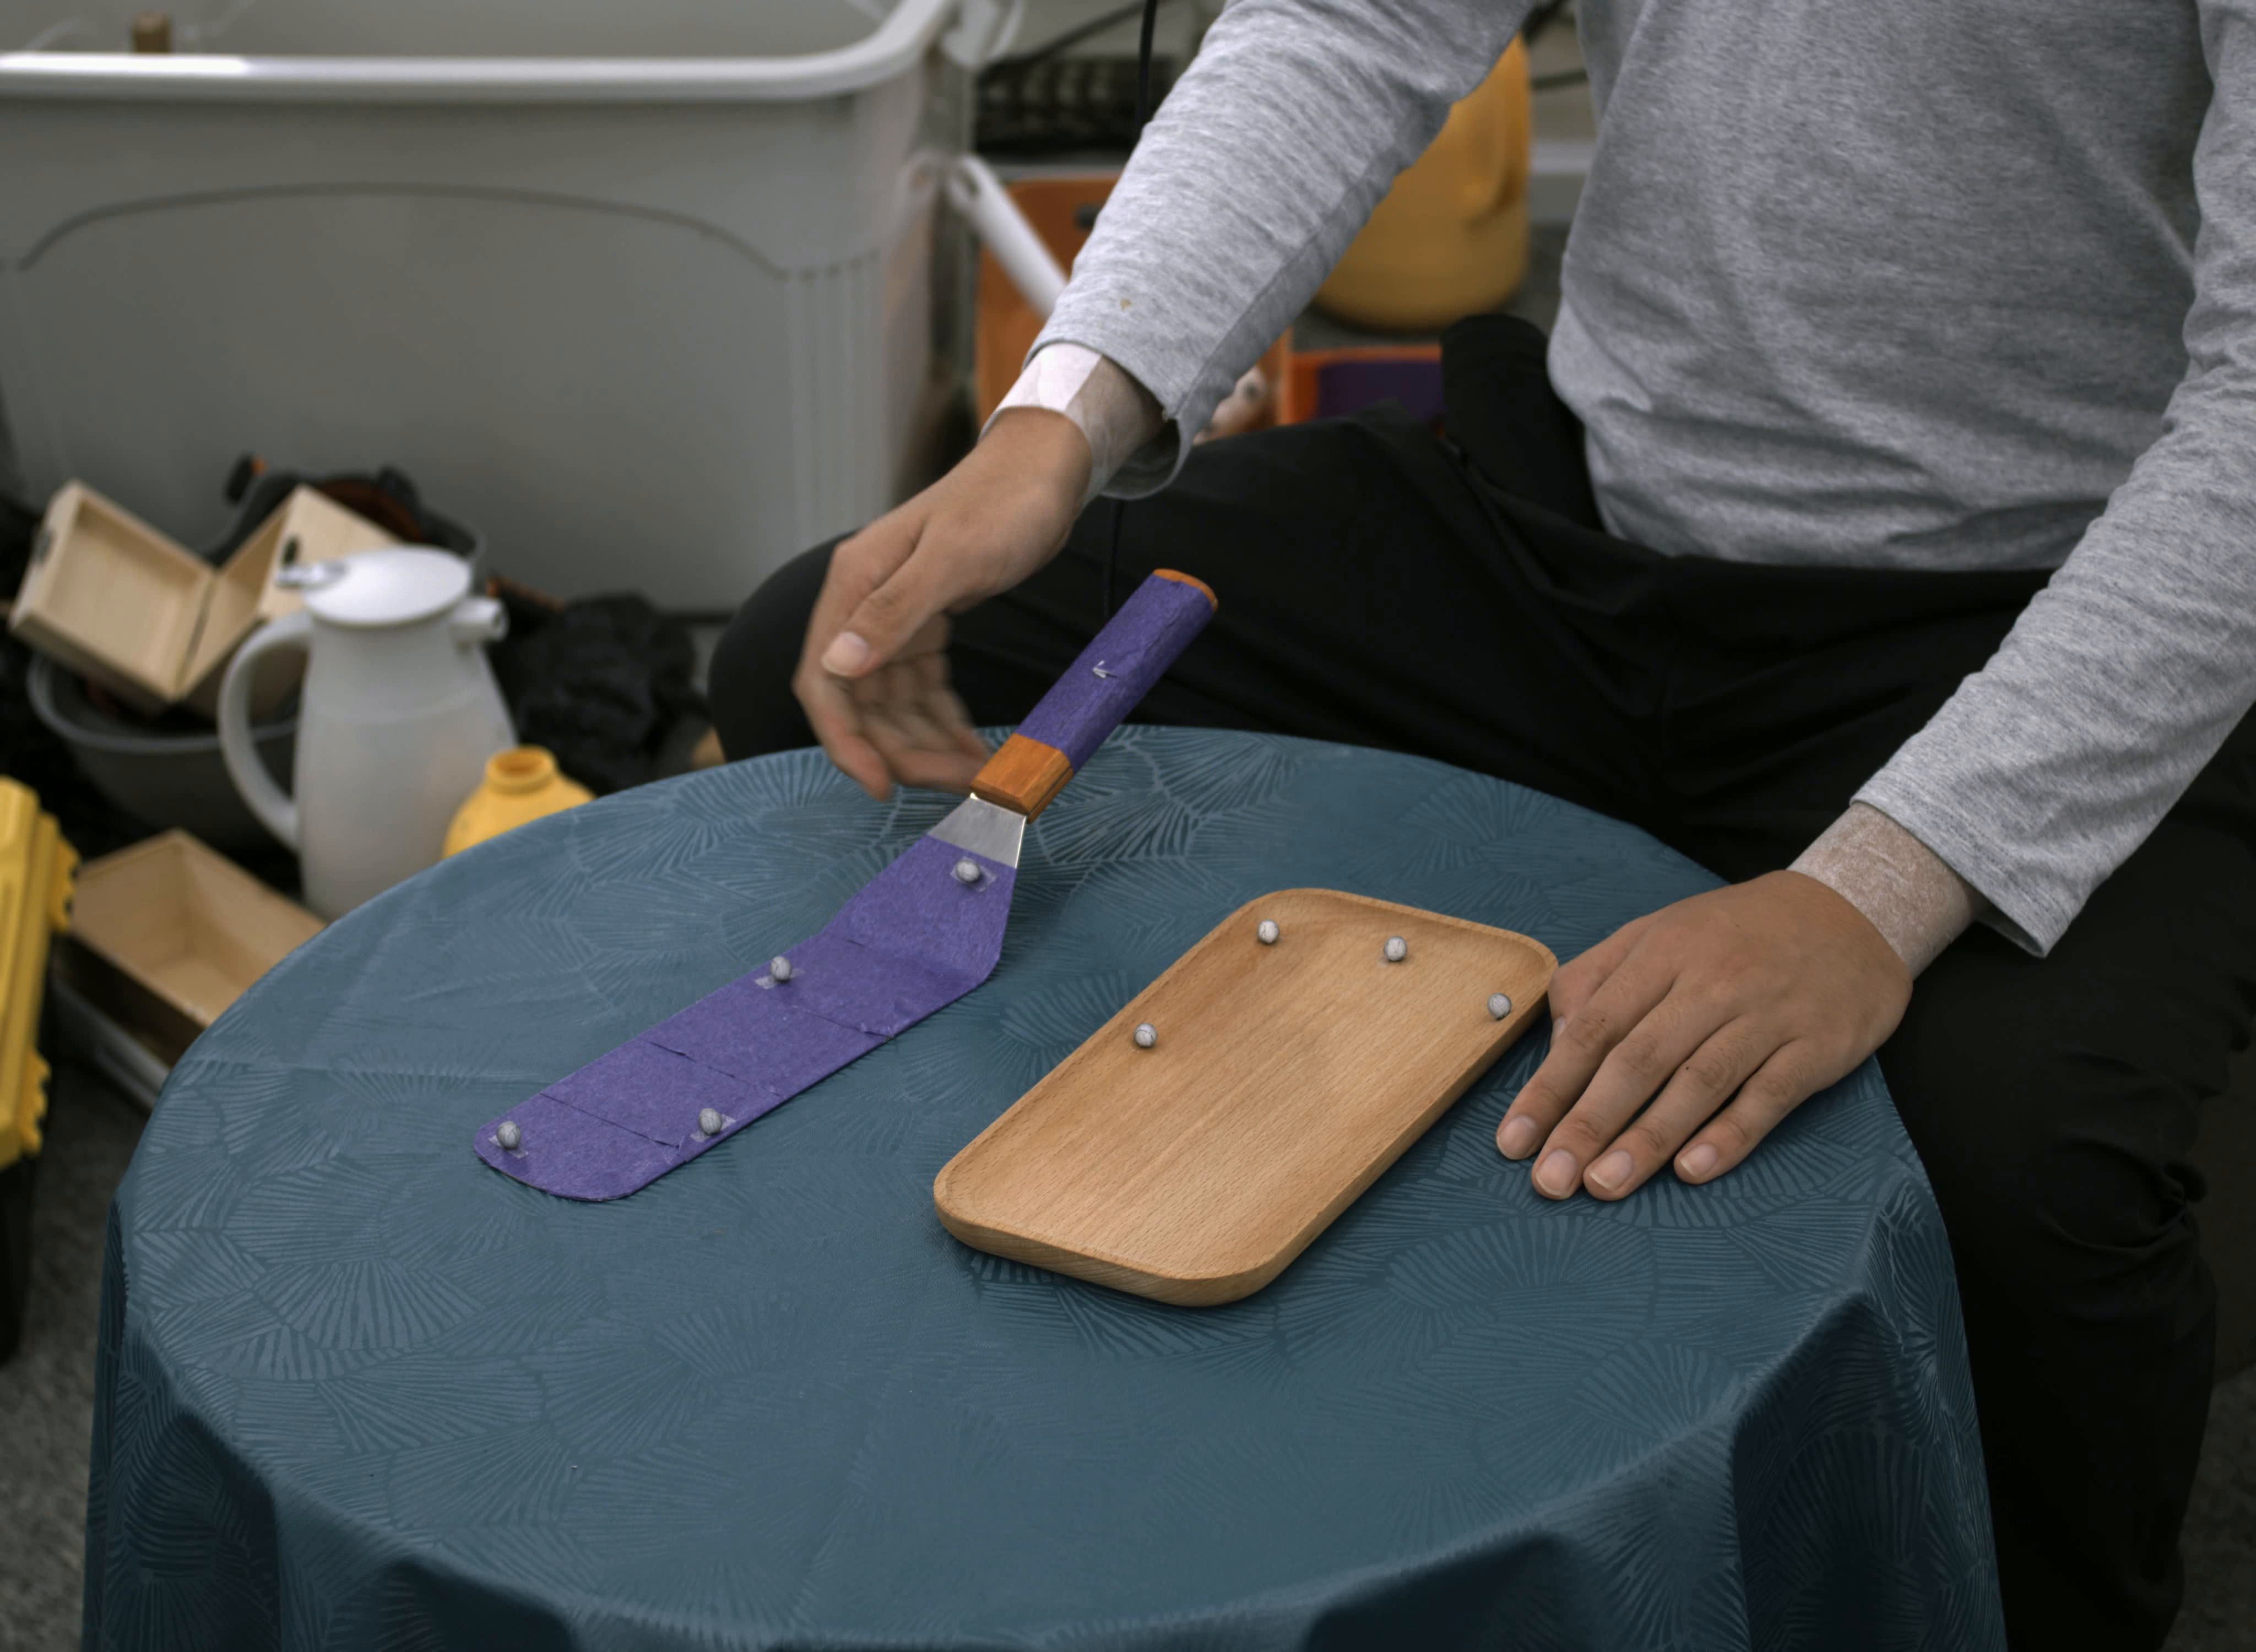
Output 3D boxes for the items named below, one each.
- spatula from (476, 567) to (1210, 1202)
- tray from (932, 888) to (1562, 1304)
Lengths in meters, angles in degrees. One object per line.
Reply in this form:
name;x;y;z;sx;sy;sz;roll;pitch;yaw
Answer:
spatula;-0.089;0.017;1.989;0.075;0.085;0.364;19;59;35
tray;0.044;0.089;1.905;0.130;0.022;0.255;10;31;30
